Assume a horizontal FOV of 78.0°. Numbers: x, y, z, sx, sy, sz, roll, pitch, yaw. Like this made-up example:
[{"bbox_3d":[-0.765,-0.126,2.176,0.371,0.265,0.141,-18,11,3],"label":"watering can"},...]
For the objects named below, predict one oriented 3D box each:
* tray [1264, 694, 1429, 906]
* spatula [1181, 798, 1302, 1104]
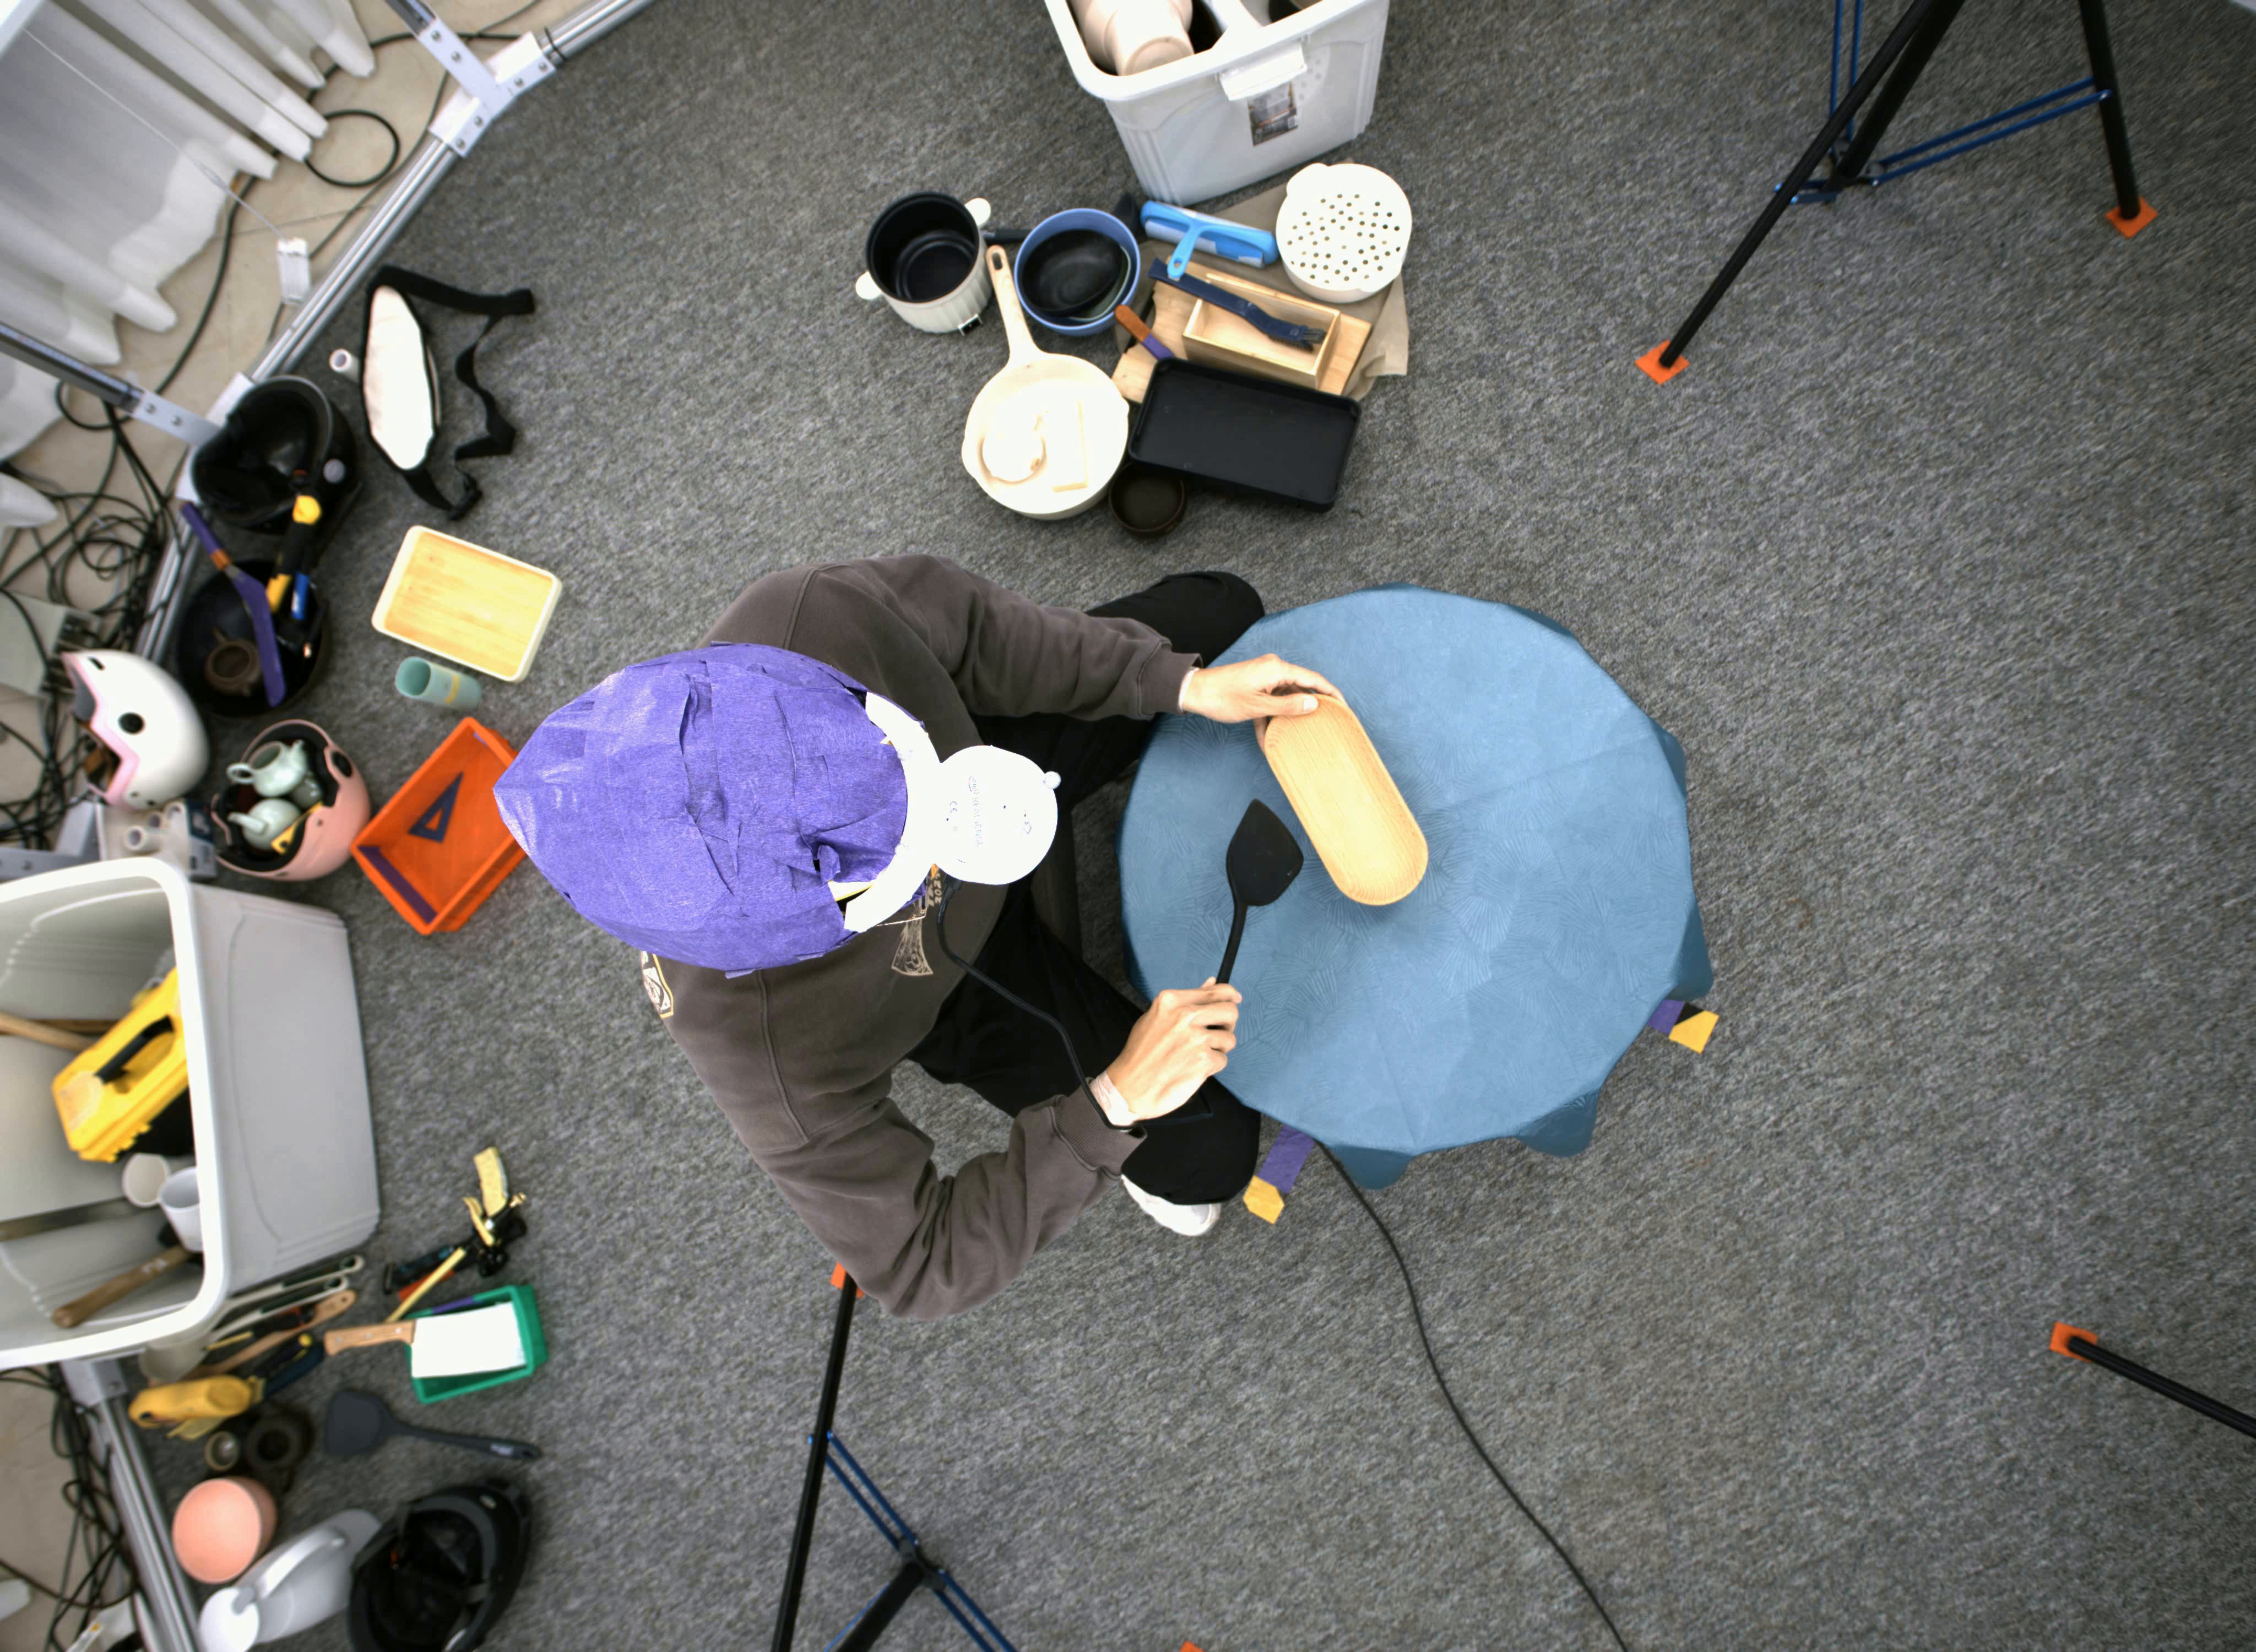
[{"bbox_3d":[0.221,-0.028,1.397,0.102,0.020,0.230,-30,84,12],"label":"tray"},{"bbox_3d":[0.099,0.118,1.297,0.041,0.101,0.317,-20,38,38],"label":"spatula"}]
